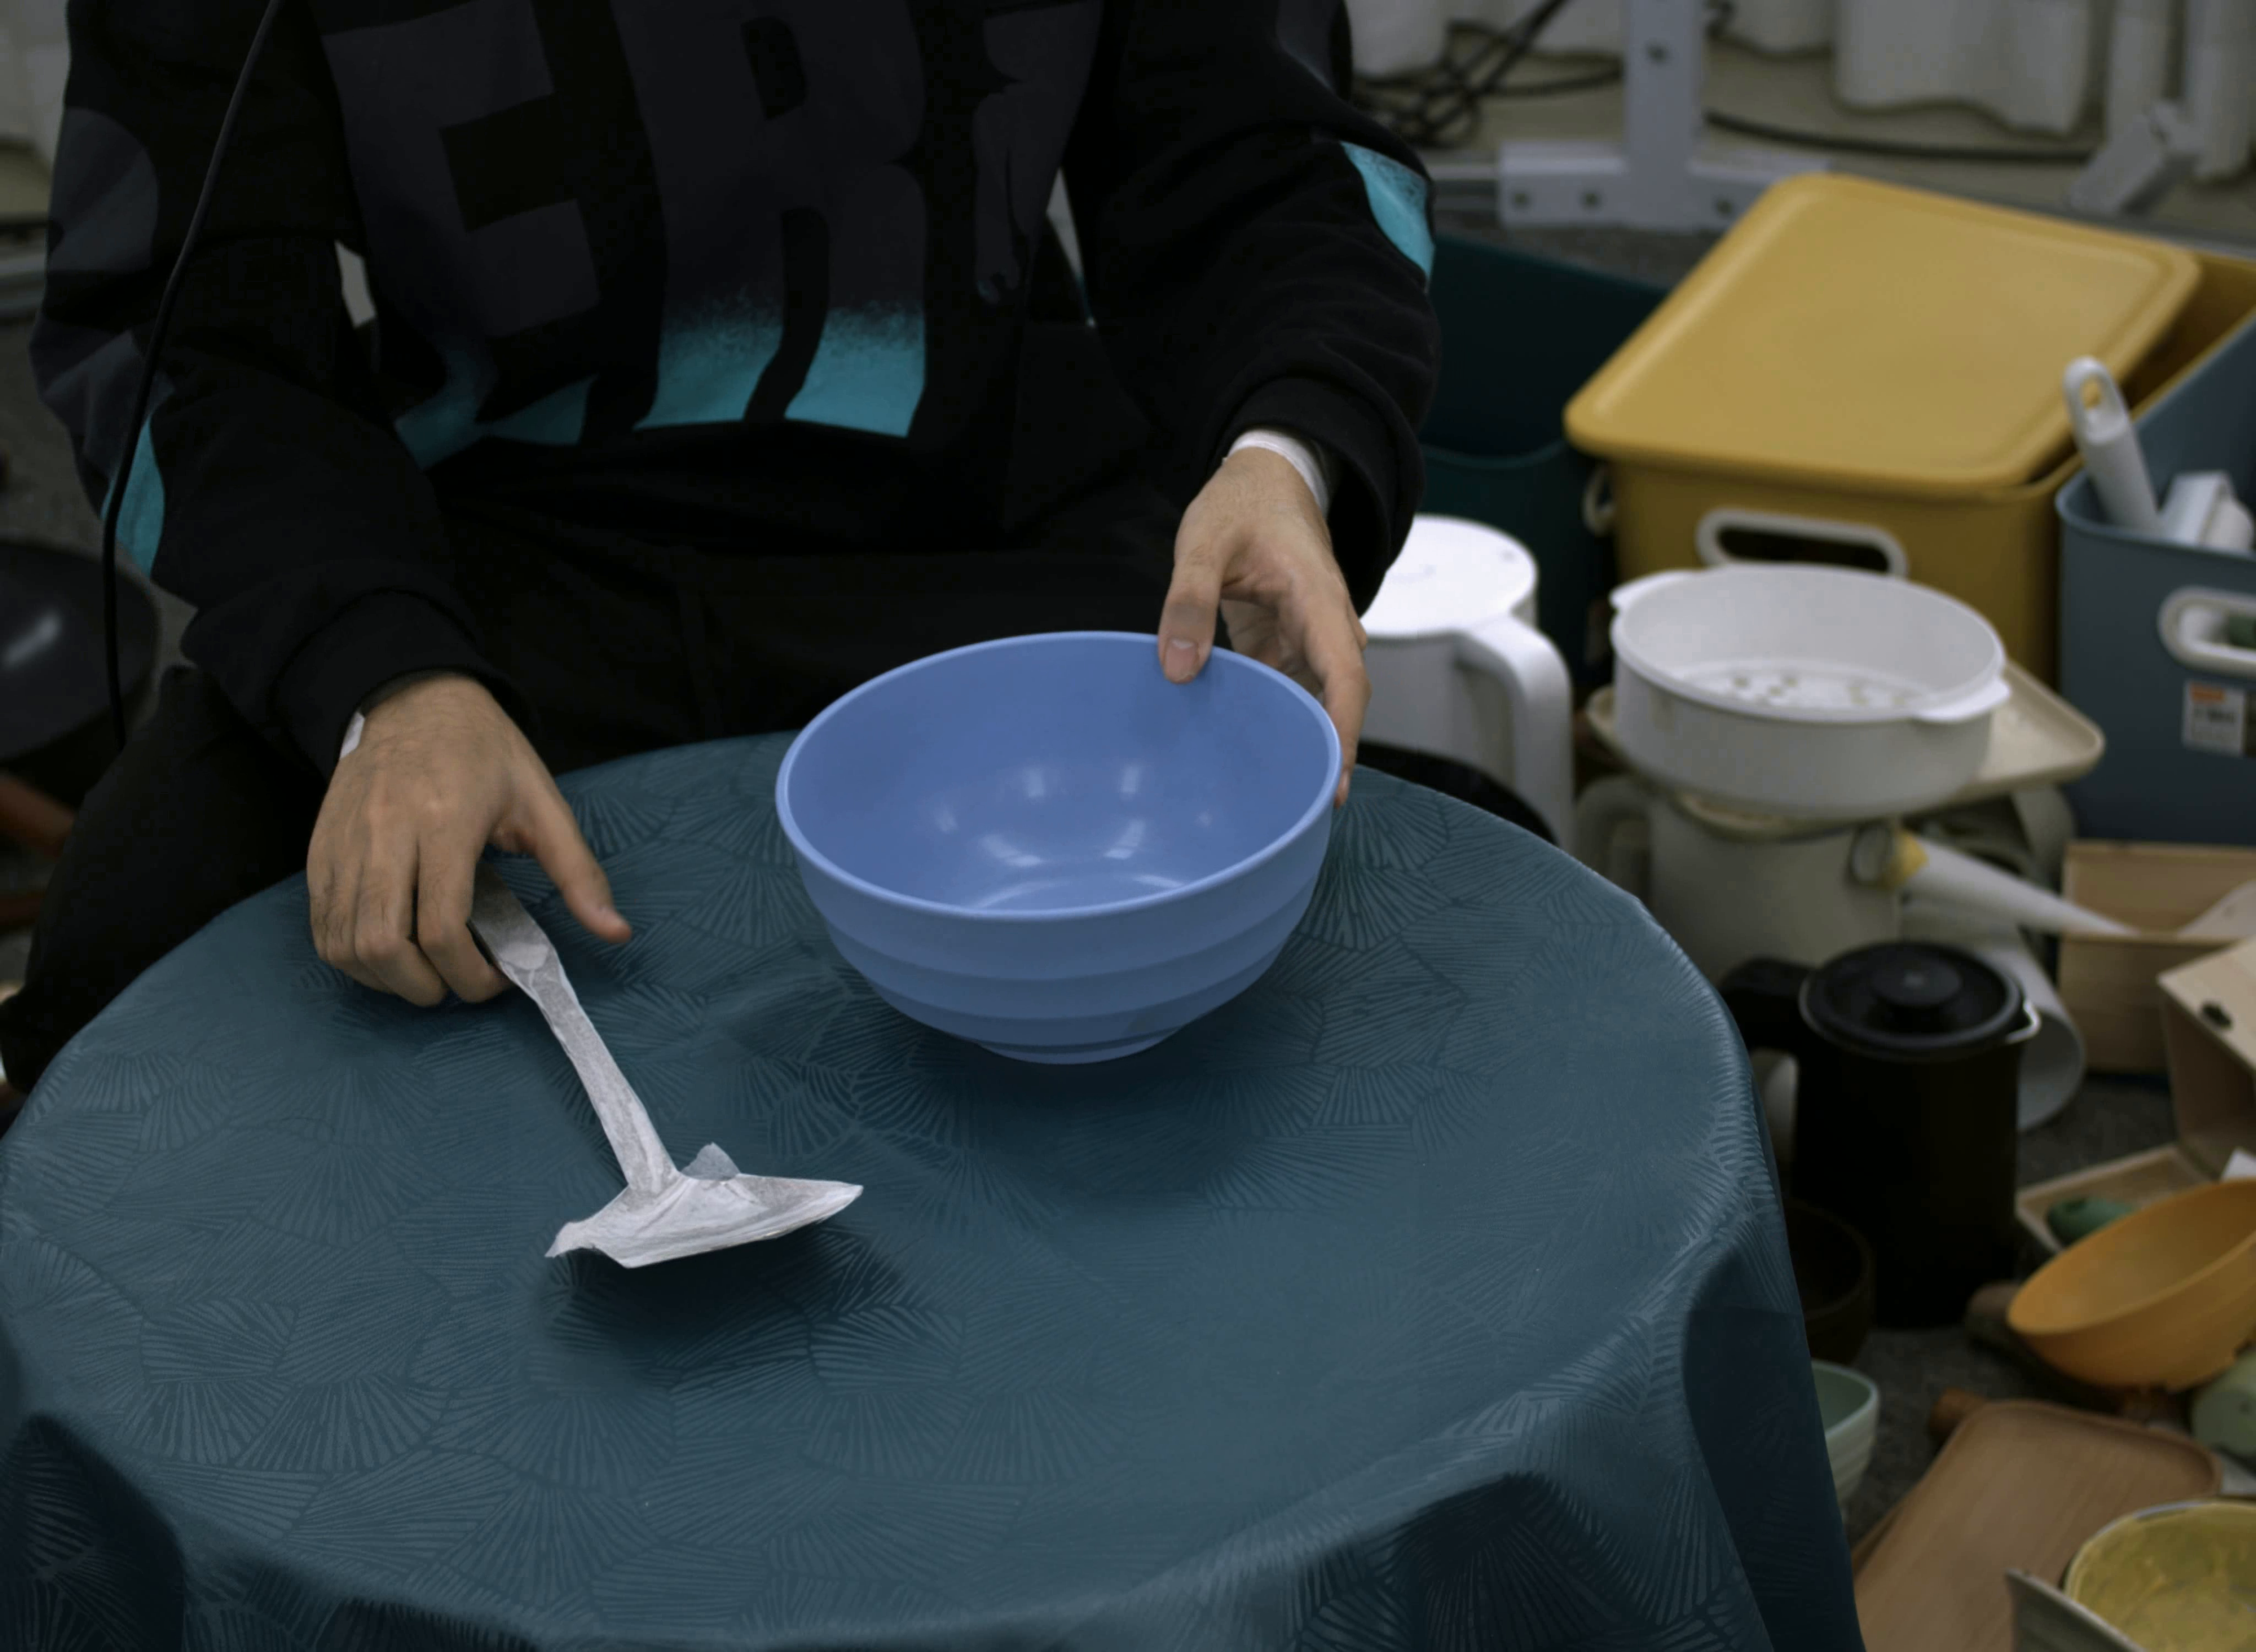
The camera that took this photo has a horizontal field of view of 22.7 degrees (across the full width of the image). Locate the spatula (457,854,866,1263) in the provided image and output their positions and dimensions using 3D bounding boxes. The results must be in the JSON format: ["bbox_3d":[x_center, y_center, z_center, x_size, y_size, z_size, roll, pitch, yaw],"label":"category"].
[{"bbox_3d":[-0.184,0.072,1.934,0.099,0.044,0.368,-13,29,-16],"label":"spatula"}]

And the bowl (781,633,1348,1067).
[{"bbox_3d":[-0.019,0.020,1.955,0.195,0.094,0.200,-3,30,2],"label":"bowl"}]
